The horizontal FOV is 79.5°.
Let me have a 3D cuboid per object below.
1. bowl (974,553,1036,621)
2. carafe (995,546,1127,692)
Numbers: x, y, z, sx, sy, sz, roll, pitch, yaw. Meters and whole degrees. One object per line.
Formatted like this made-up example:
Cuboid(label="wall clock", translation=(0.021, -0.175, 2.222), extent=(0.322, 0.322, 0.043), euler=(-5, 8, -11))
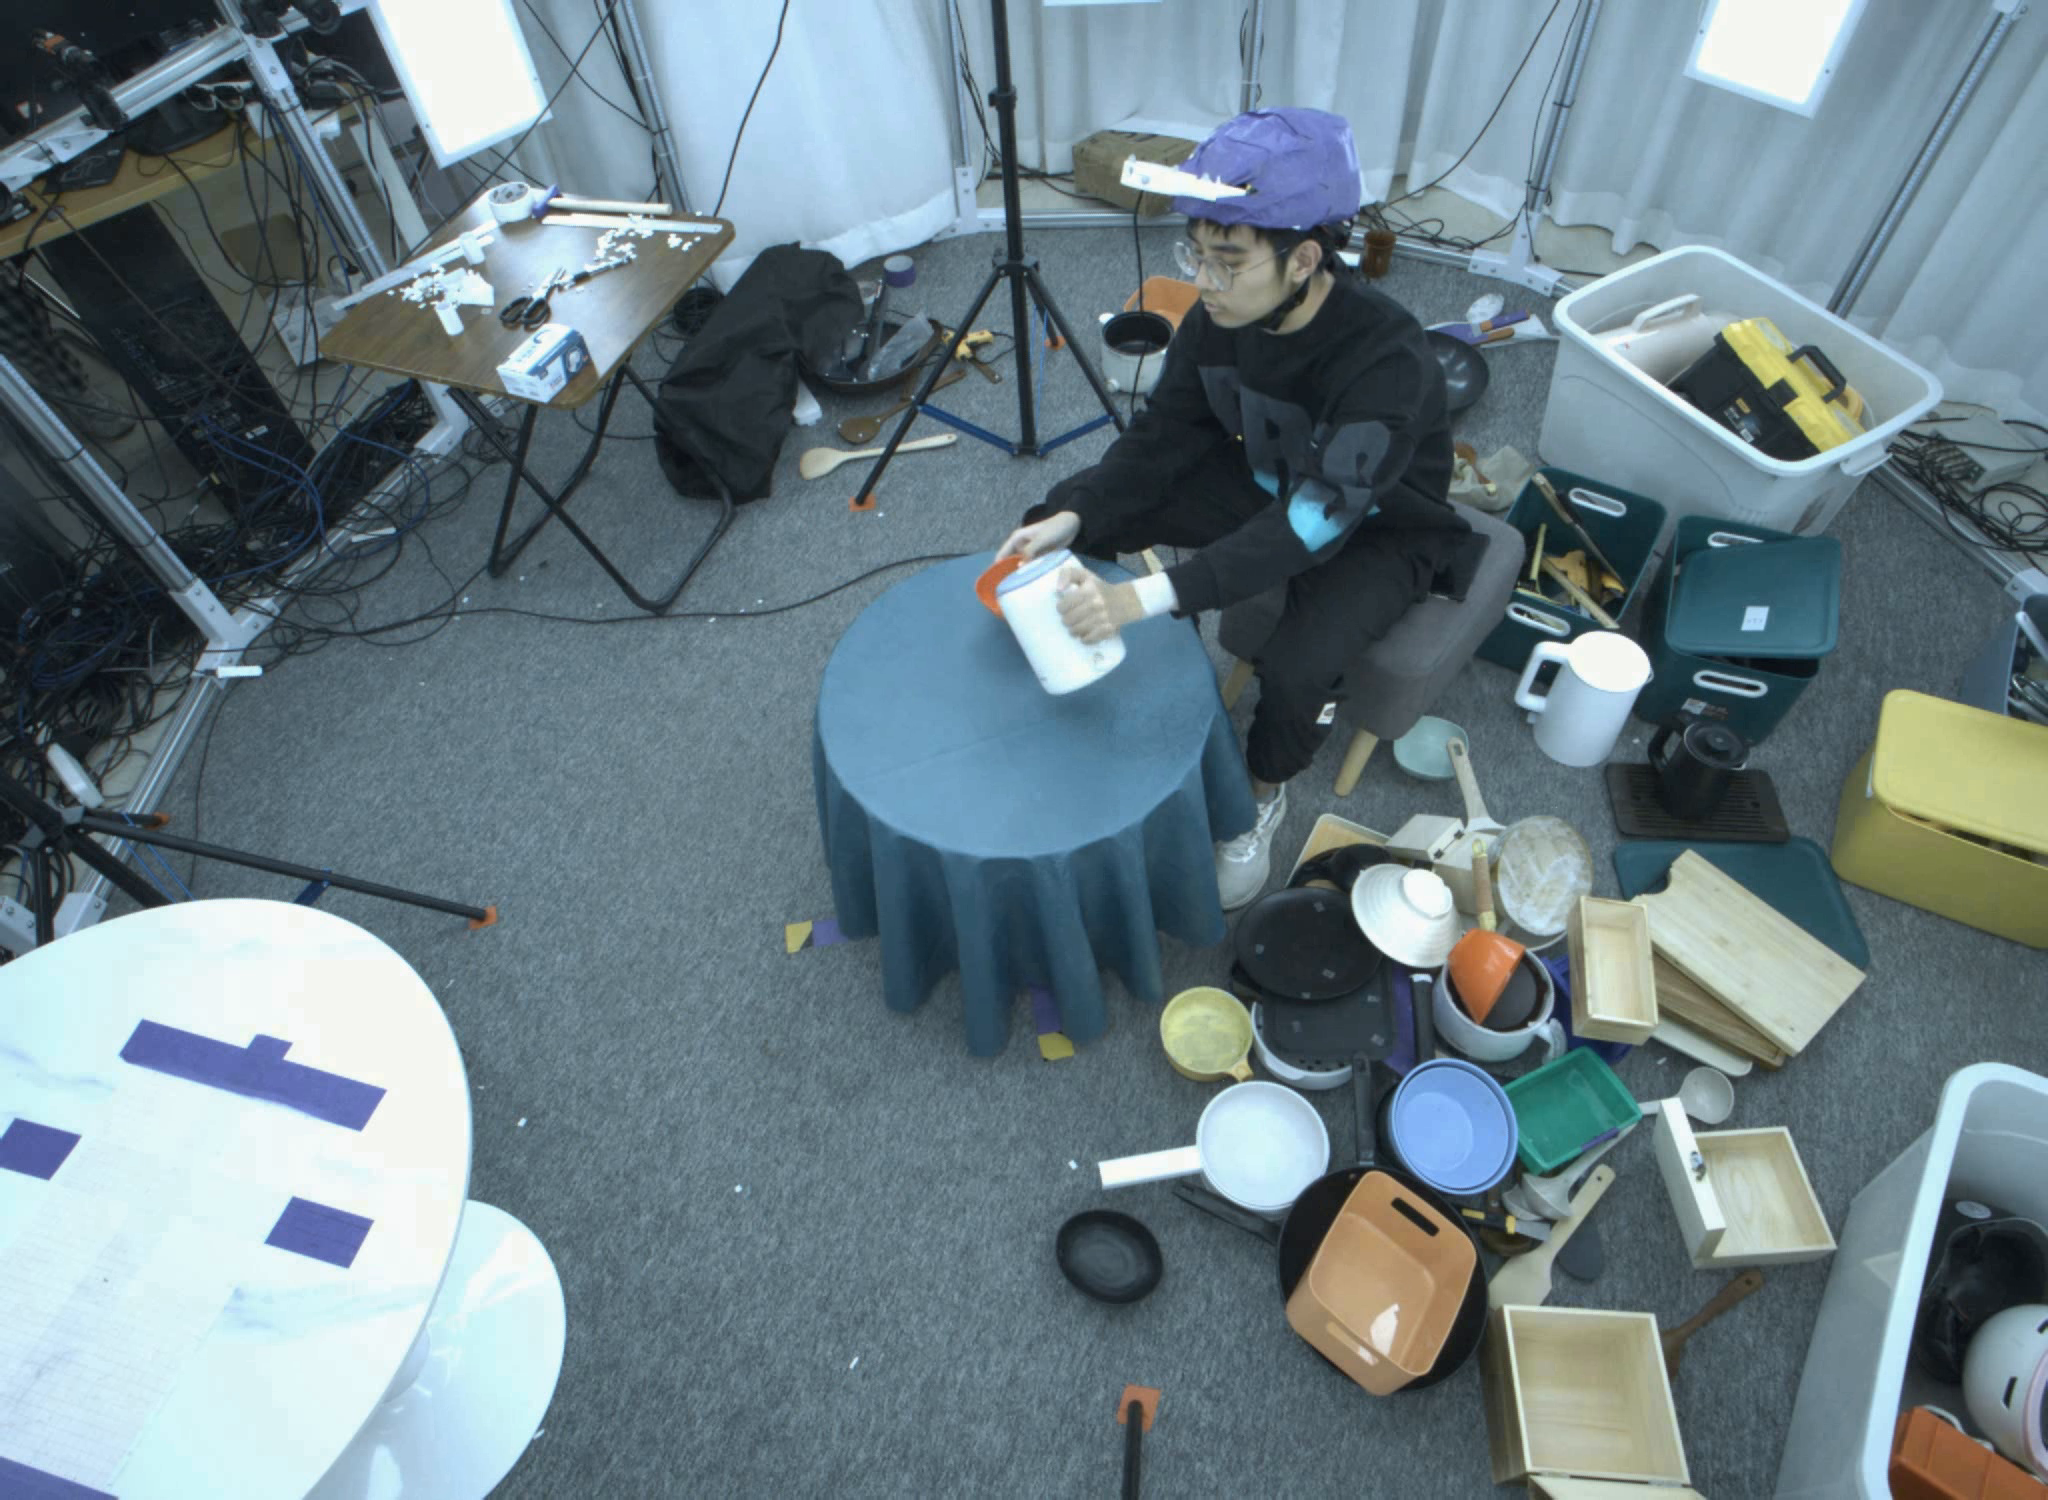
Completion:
Cuboid(label="bowl", translation=(-0.013, -0.239, 1.865), extent=(0.118, 0.052, 0.118), euler=(-5, 56, 9))
Cuboid(label="carafe", translation=(0.061, -0.182, 1.710), extent=(0.133, 0.184, 0.187), euler=(-36, 19, -17))
